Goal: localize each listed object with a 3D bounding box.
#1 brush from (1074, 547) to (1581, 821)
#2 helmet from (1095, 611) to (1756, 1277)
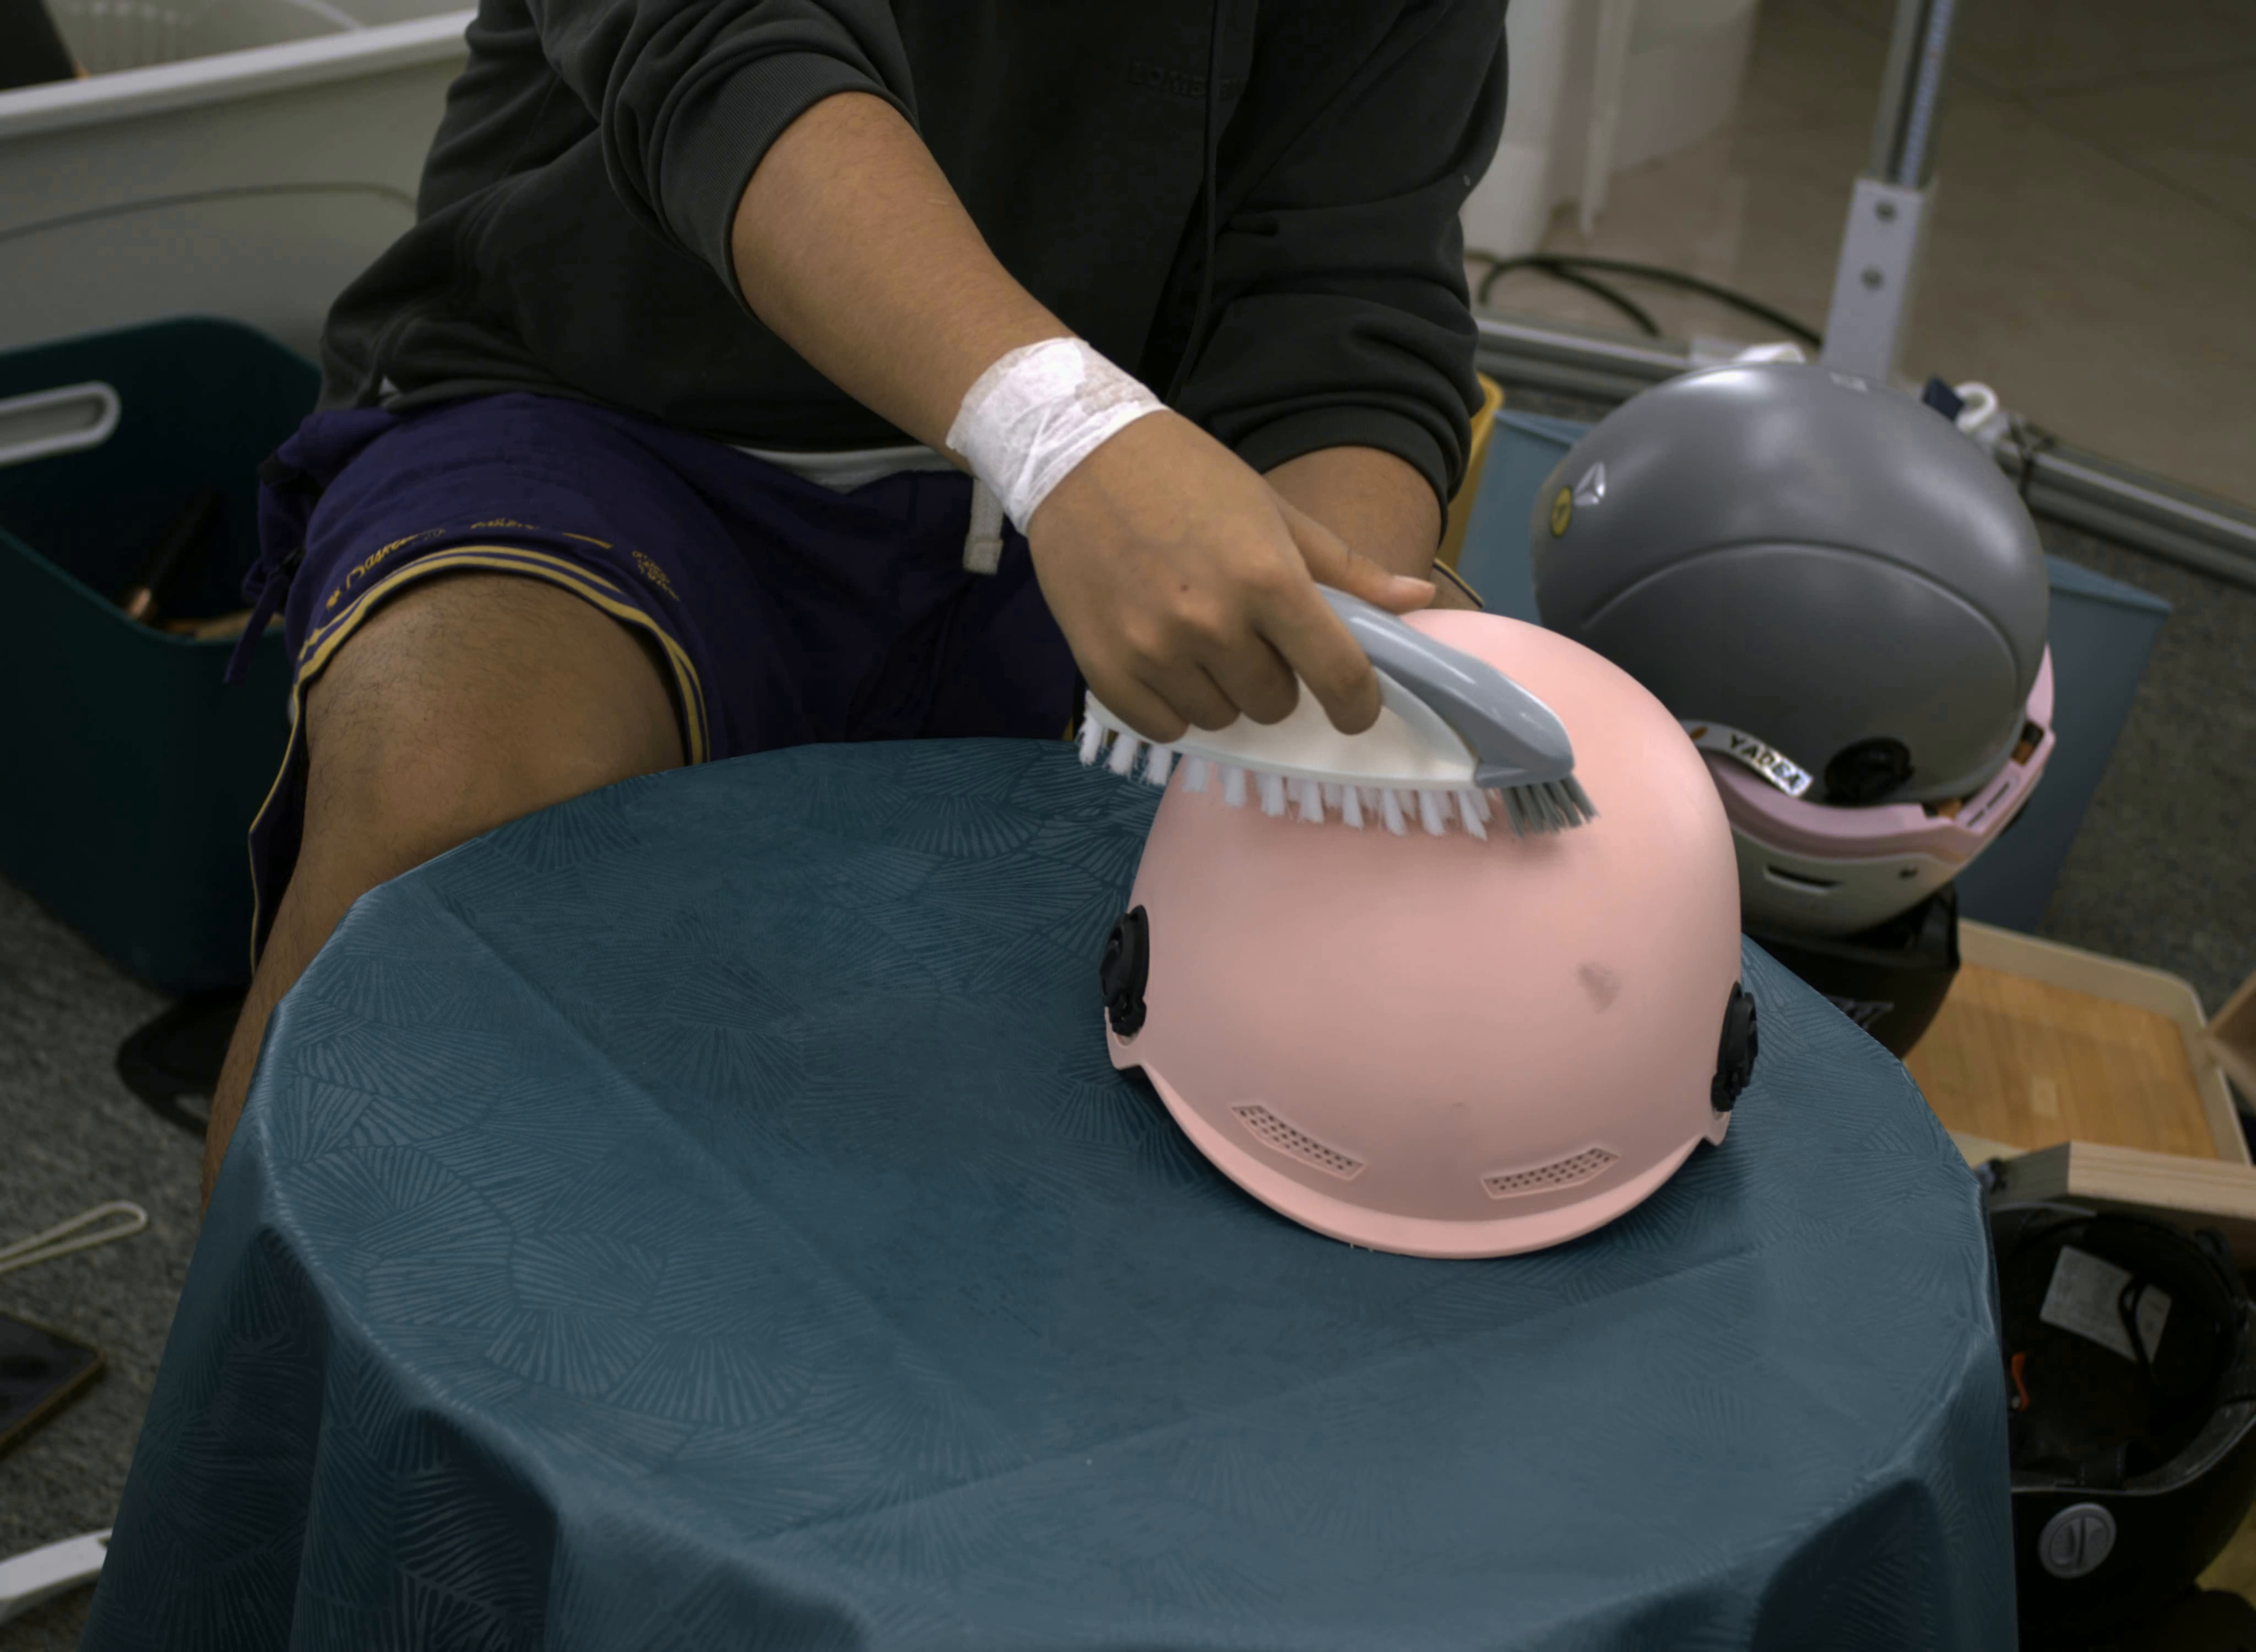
[{"bbox_3d":[0.067,-0.050,1.761,0.176,0.093,0.062,16,62,12],"label":"brush"},{"bbox_3d":[0.111,0.021,1.859,0.233,0.158,0.267,7,34,0],"label":"helmet"}]
